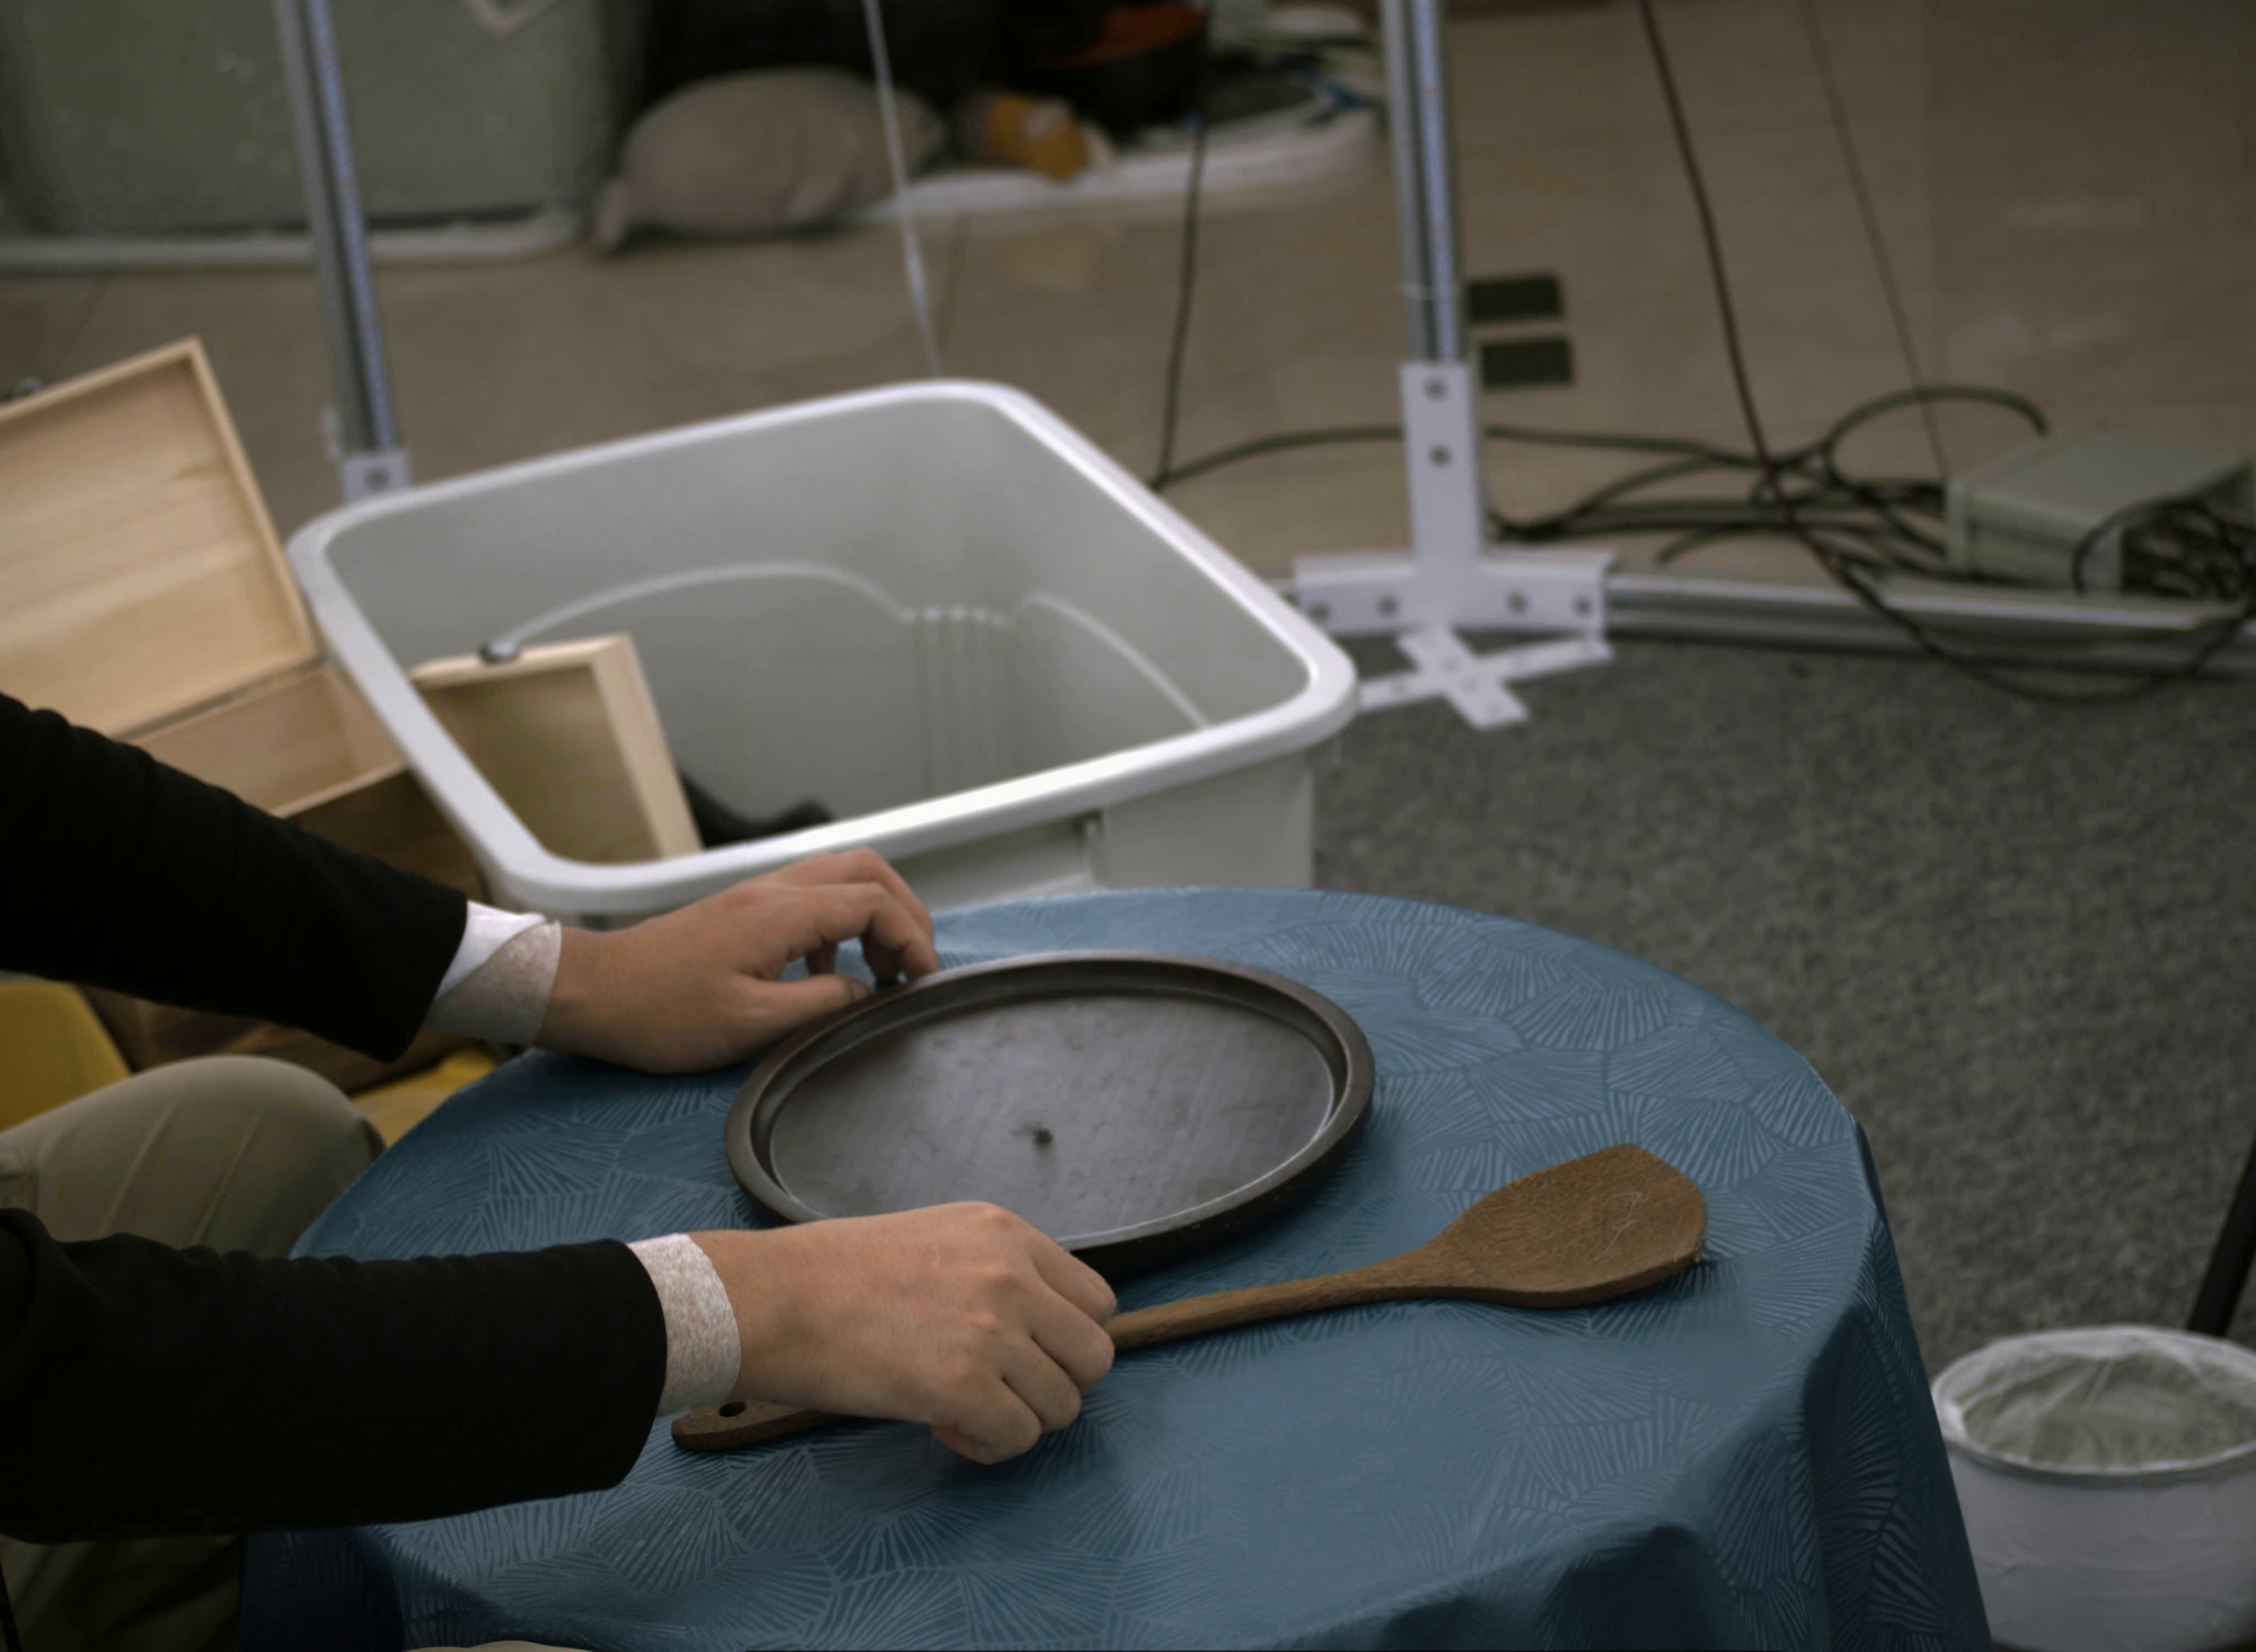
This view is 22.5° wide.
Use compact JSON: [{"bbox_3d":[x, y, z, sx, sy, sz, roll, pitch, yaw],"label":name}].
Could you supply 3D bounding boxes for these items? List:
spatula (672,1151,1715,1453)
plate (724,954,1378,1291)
[{"bbox_3d":[0.024,0.176,2.044,0.385,0.016,0.095,-11,25,-10],"label":"spatula"},{"bbox_3d":[-0.029,0.112,2.184,0.254,0.029,0.251,-5,26,3],"label":"plate"}]
